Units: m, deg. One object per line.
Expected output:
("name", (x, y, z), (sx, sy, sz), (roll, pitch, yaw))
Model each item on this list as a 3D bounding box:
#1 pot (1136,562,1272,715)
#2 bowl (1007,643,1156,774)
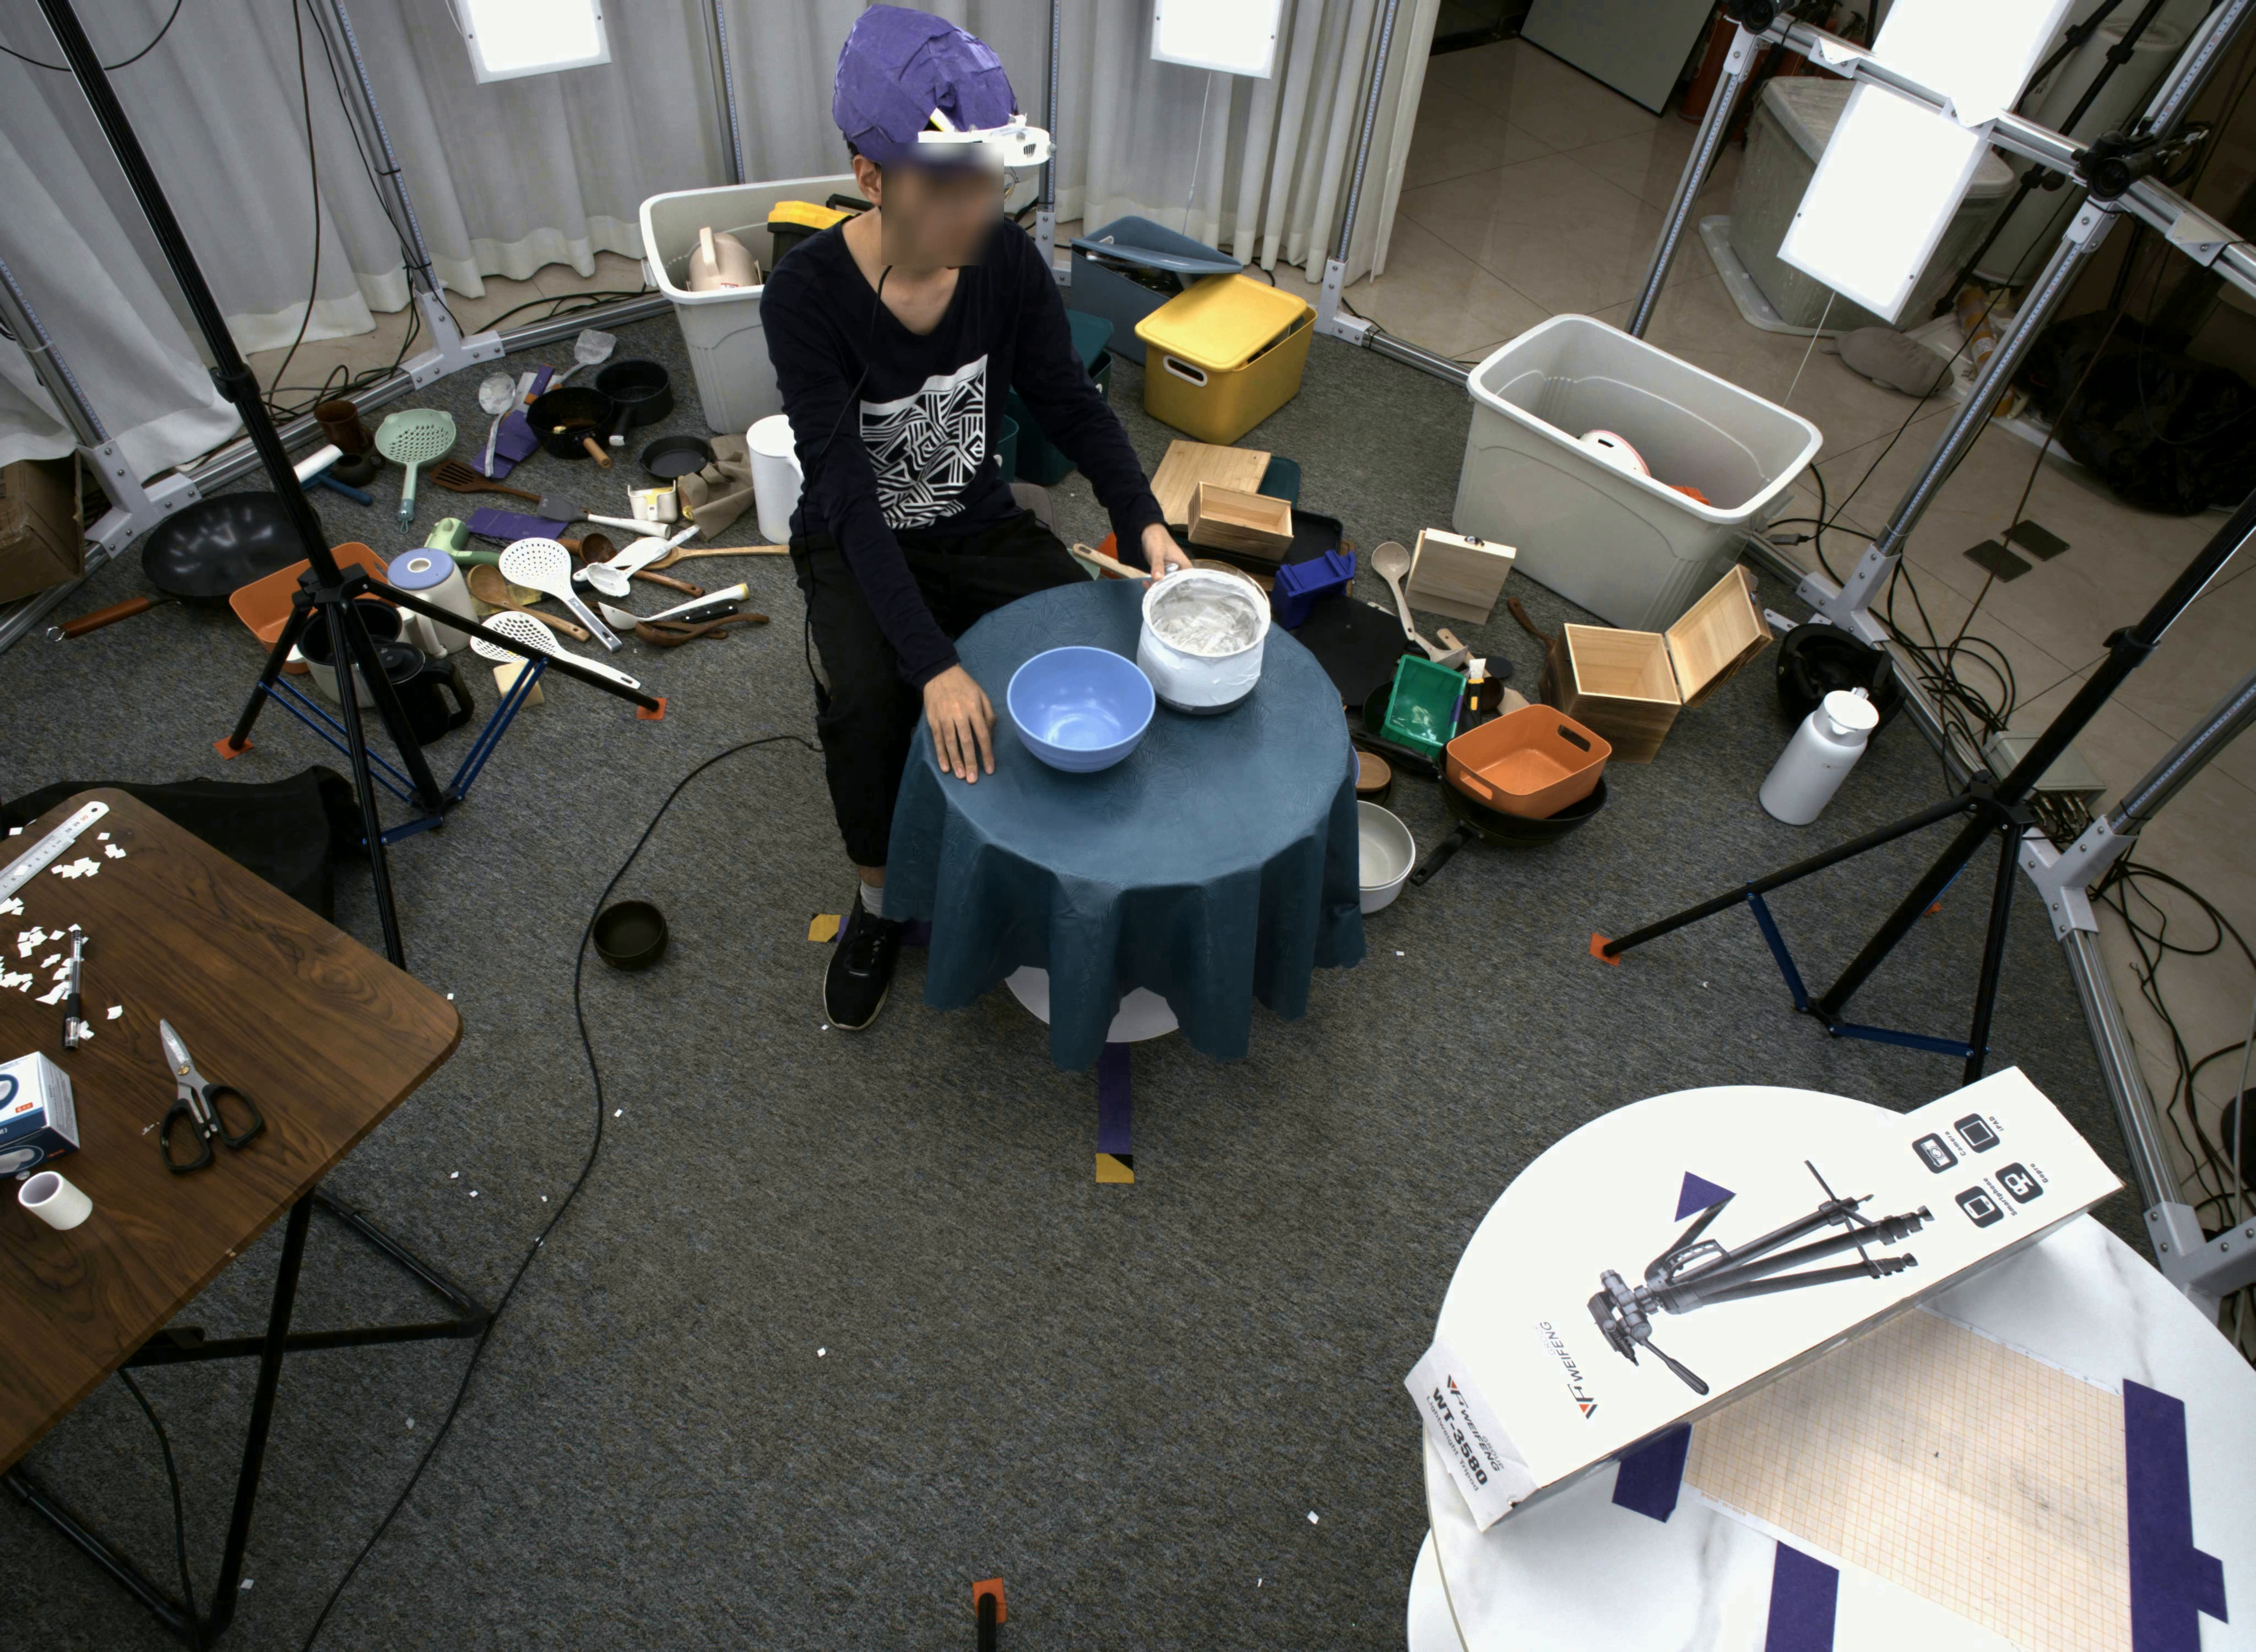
("pot", (0.090, -0.275, 1.821), (0.179, 0.133, 0.239), (-19, 55, -22))
("bowl", (-0.064, -0.143, 1.722), (0.196, 0.093, 0.201), (2, 54, -2))
